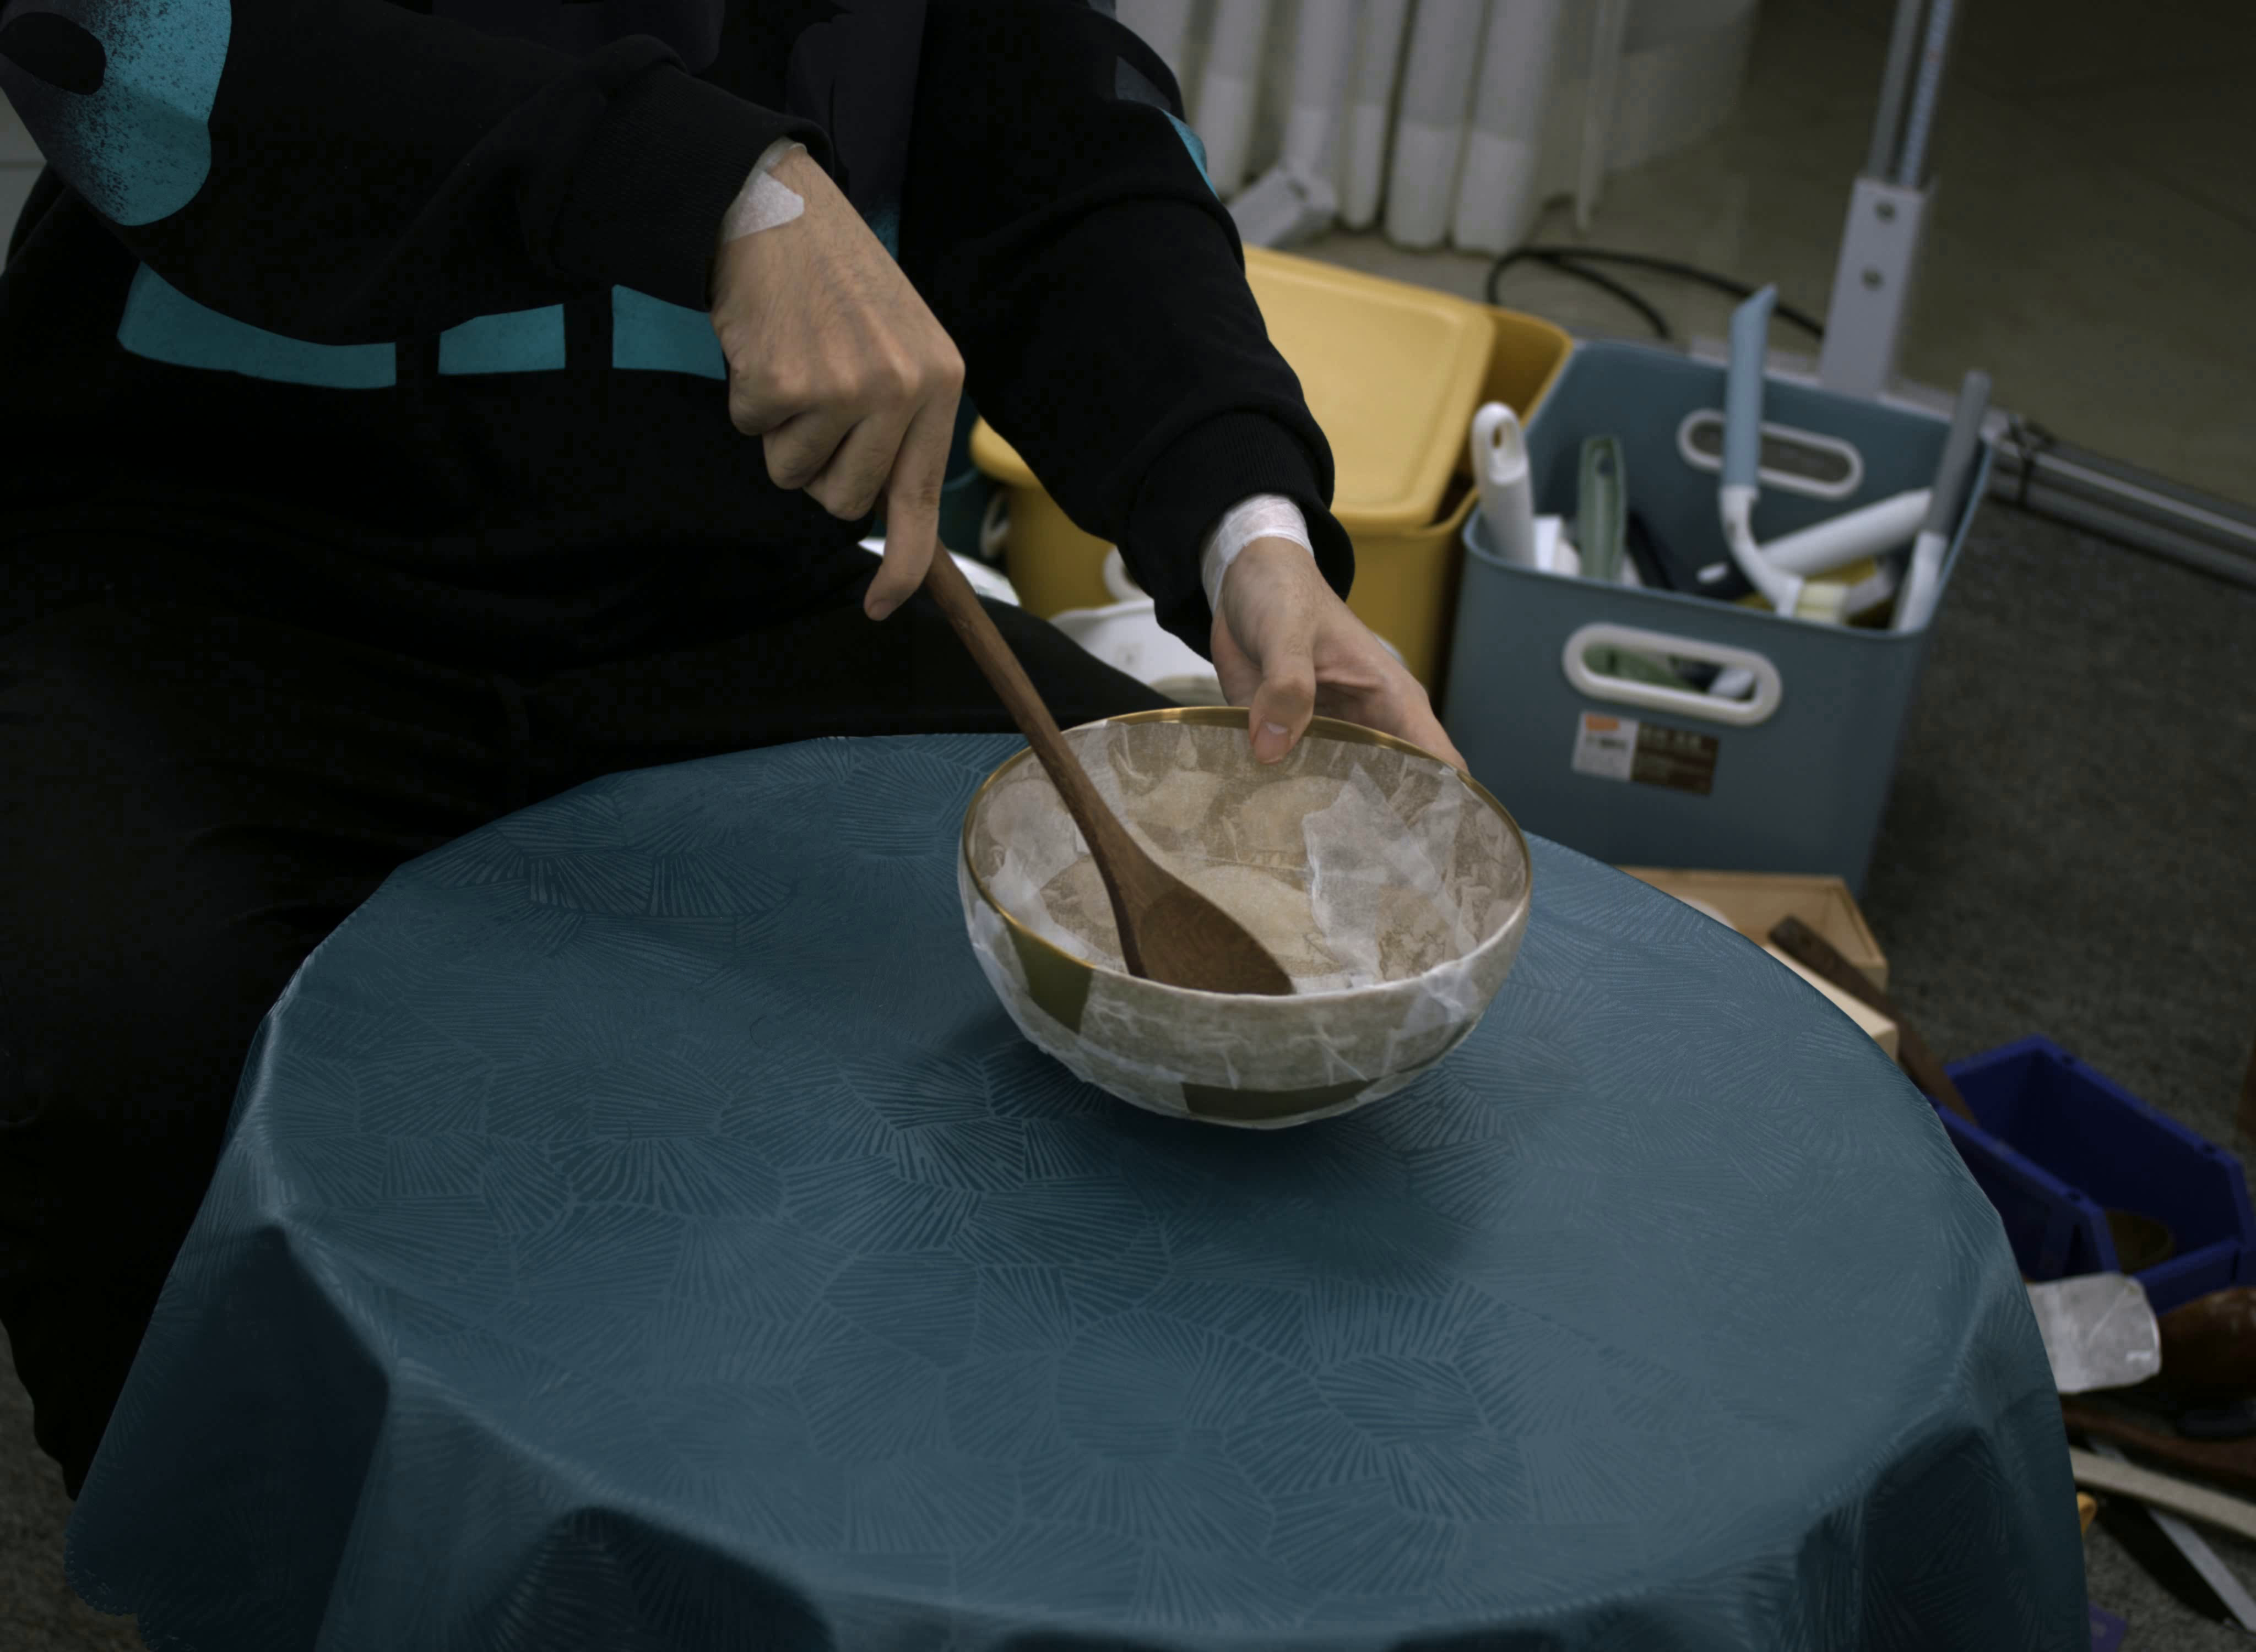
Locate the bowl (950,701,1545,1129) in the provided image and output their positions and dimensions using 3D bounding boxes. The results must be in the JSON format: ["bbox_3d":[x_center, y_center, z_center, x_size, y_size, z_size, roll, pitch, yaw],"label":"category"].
[{"bbox_3d":[0.040,0.043,1.862,0.214,0.094,0.216,0,28,-1],"label":"bowl"}]

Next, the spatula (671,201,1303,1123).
[{"bbox_3d":[-0.046,-0.060,1.851,0.386,0.016,0.096,56,27,2],"label":"spatula"}]
